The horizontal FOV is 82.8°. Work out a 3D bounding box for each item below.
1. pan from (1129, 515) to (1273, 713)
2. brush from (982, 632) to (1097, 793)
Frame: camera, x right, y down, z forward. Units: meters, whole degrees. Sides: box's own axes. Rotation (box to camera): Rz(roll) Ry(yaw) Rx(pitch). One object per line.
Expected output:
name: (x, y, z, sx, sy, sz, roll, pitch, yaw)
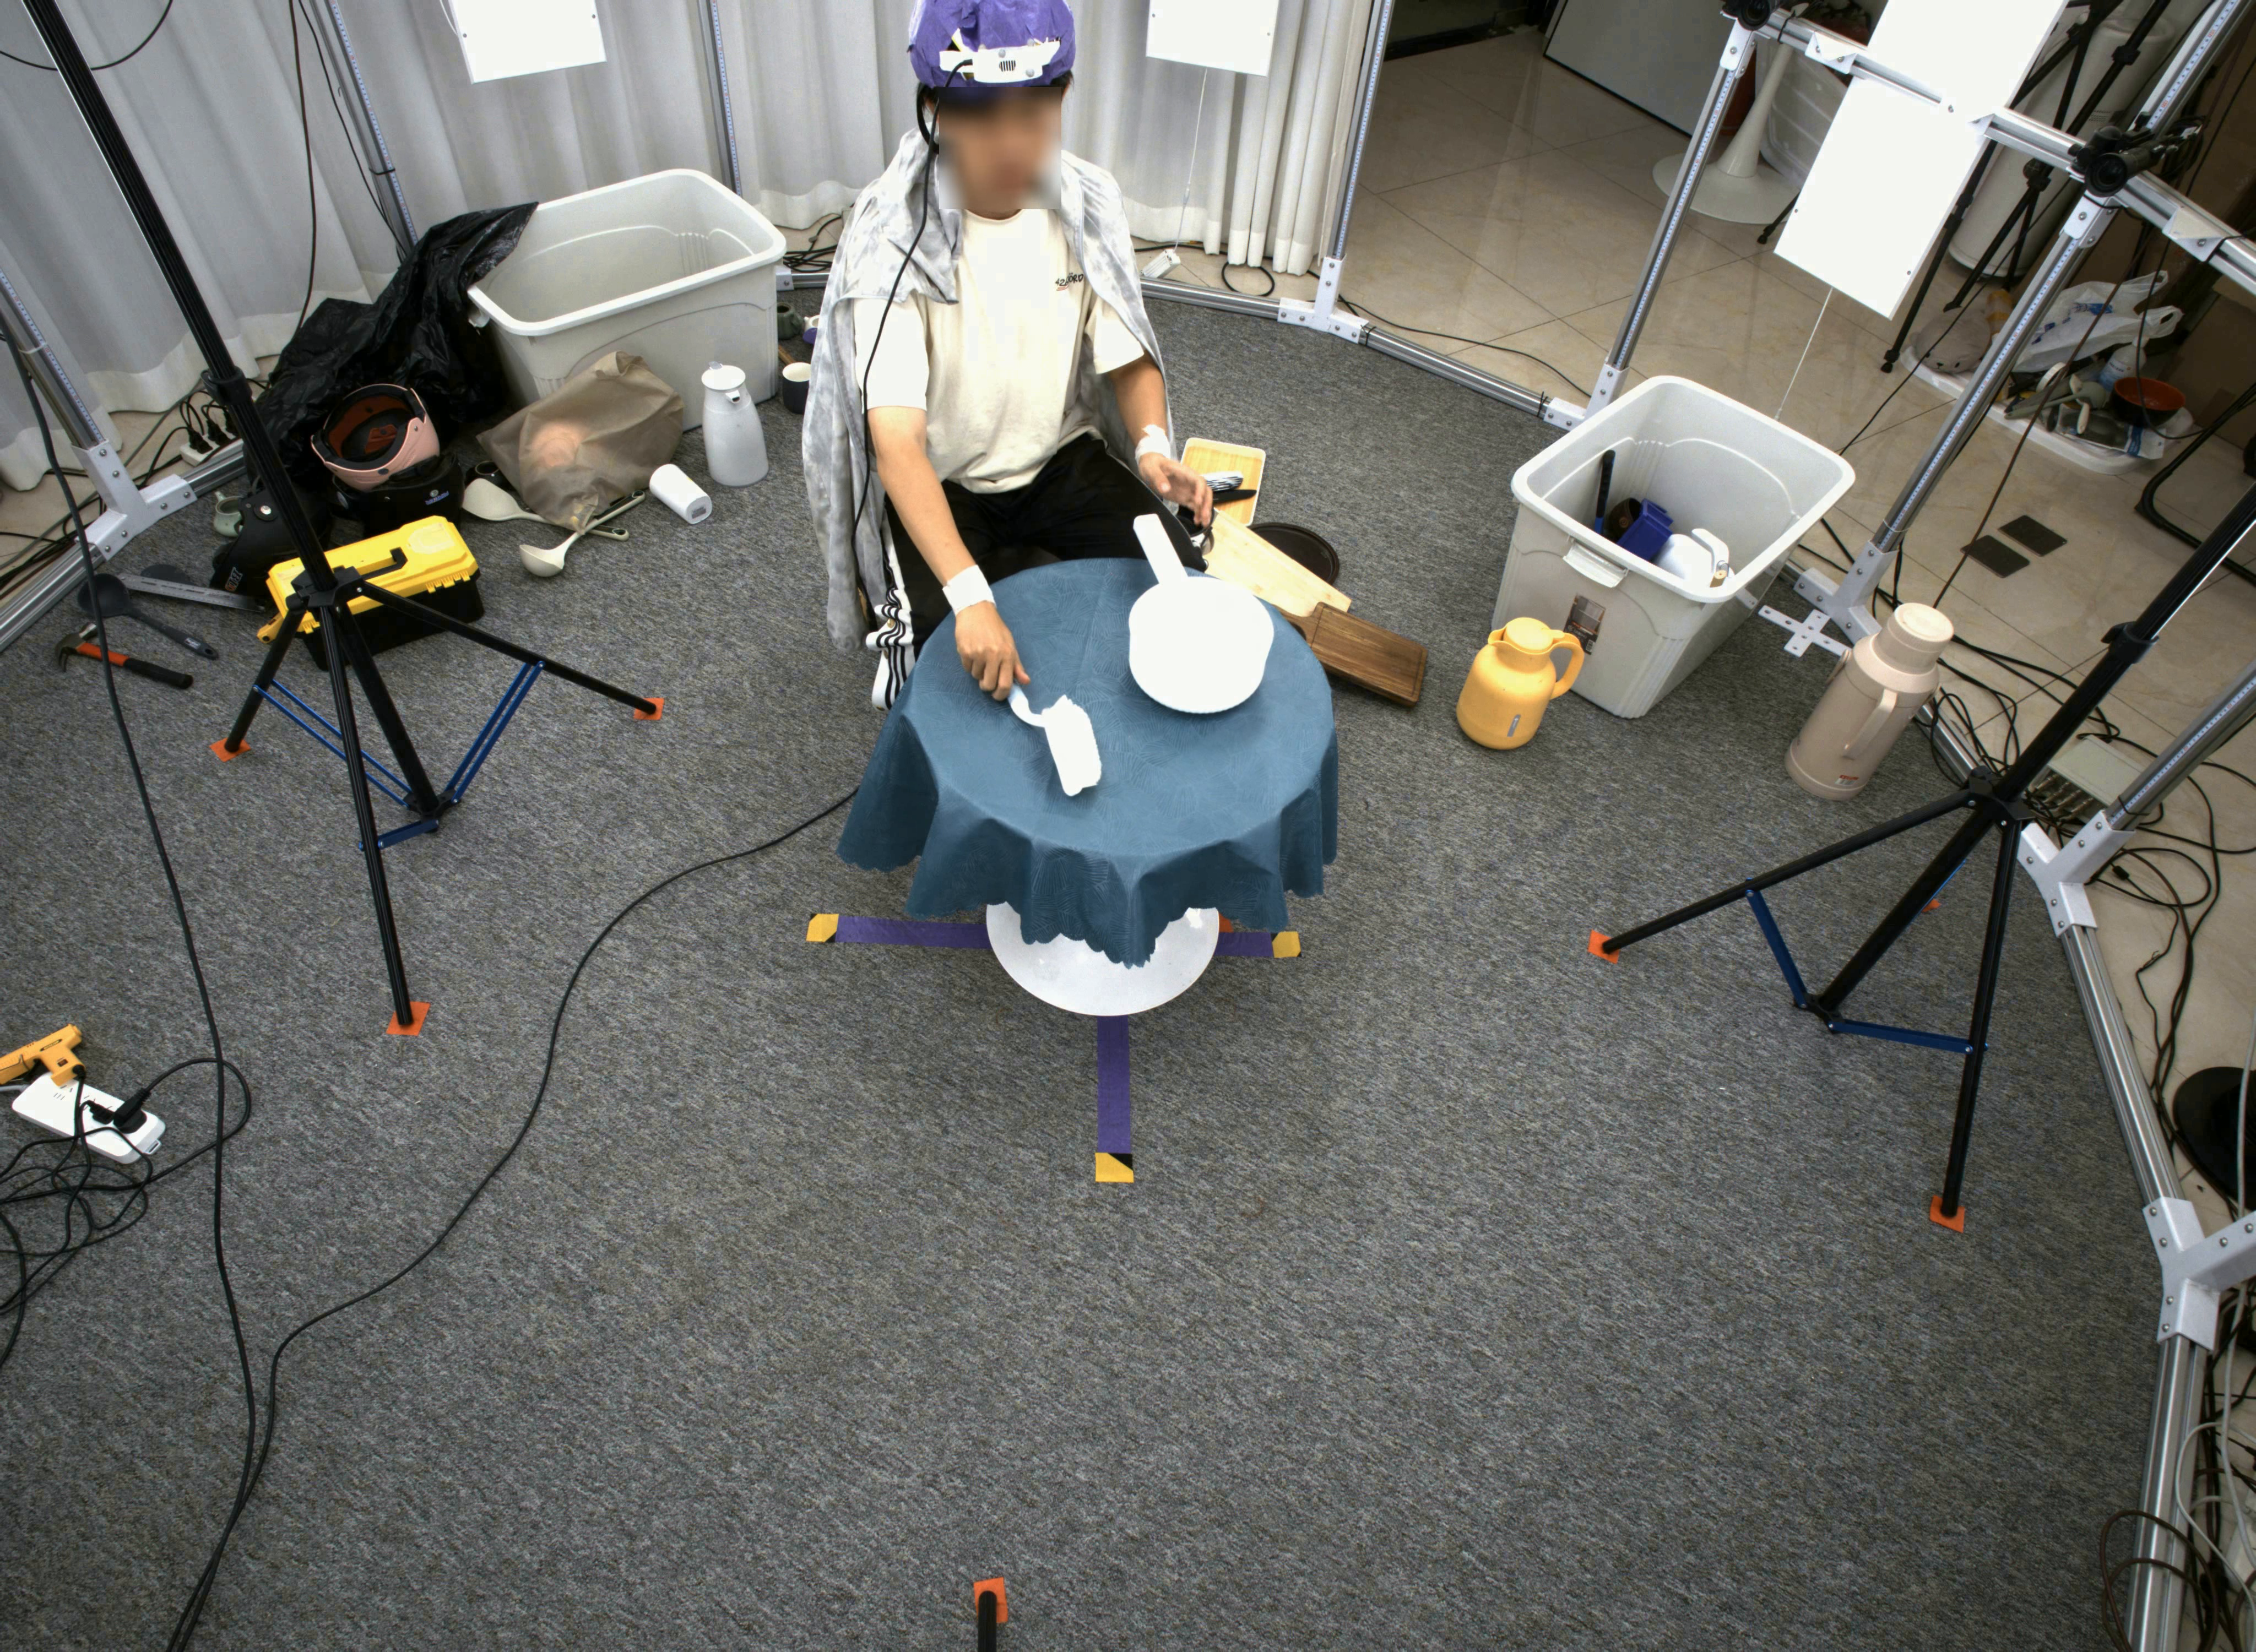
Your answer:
pan: (0.077, -0.309, 1.871, 0.201, 0.099, 0.363, -11, 50, -13)
brush: (-0.115, -0.181, 1.759, 0.084, 0.081, 0.333, -15, 51, -17)
